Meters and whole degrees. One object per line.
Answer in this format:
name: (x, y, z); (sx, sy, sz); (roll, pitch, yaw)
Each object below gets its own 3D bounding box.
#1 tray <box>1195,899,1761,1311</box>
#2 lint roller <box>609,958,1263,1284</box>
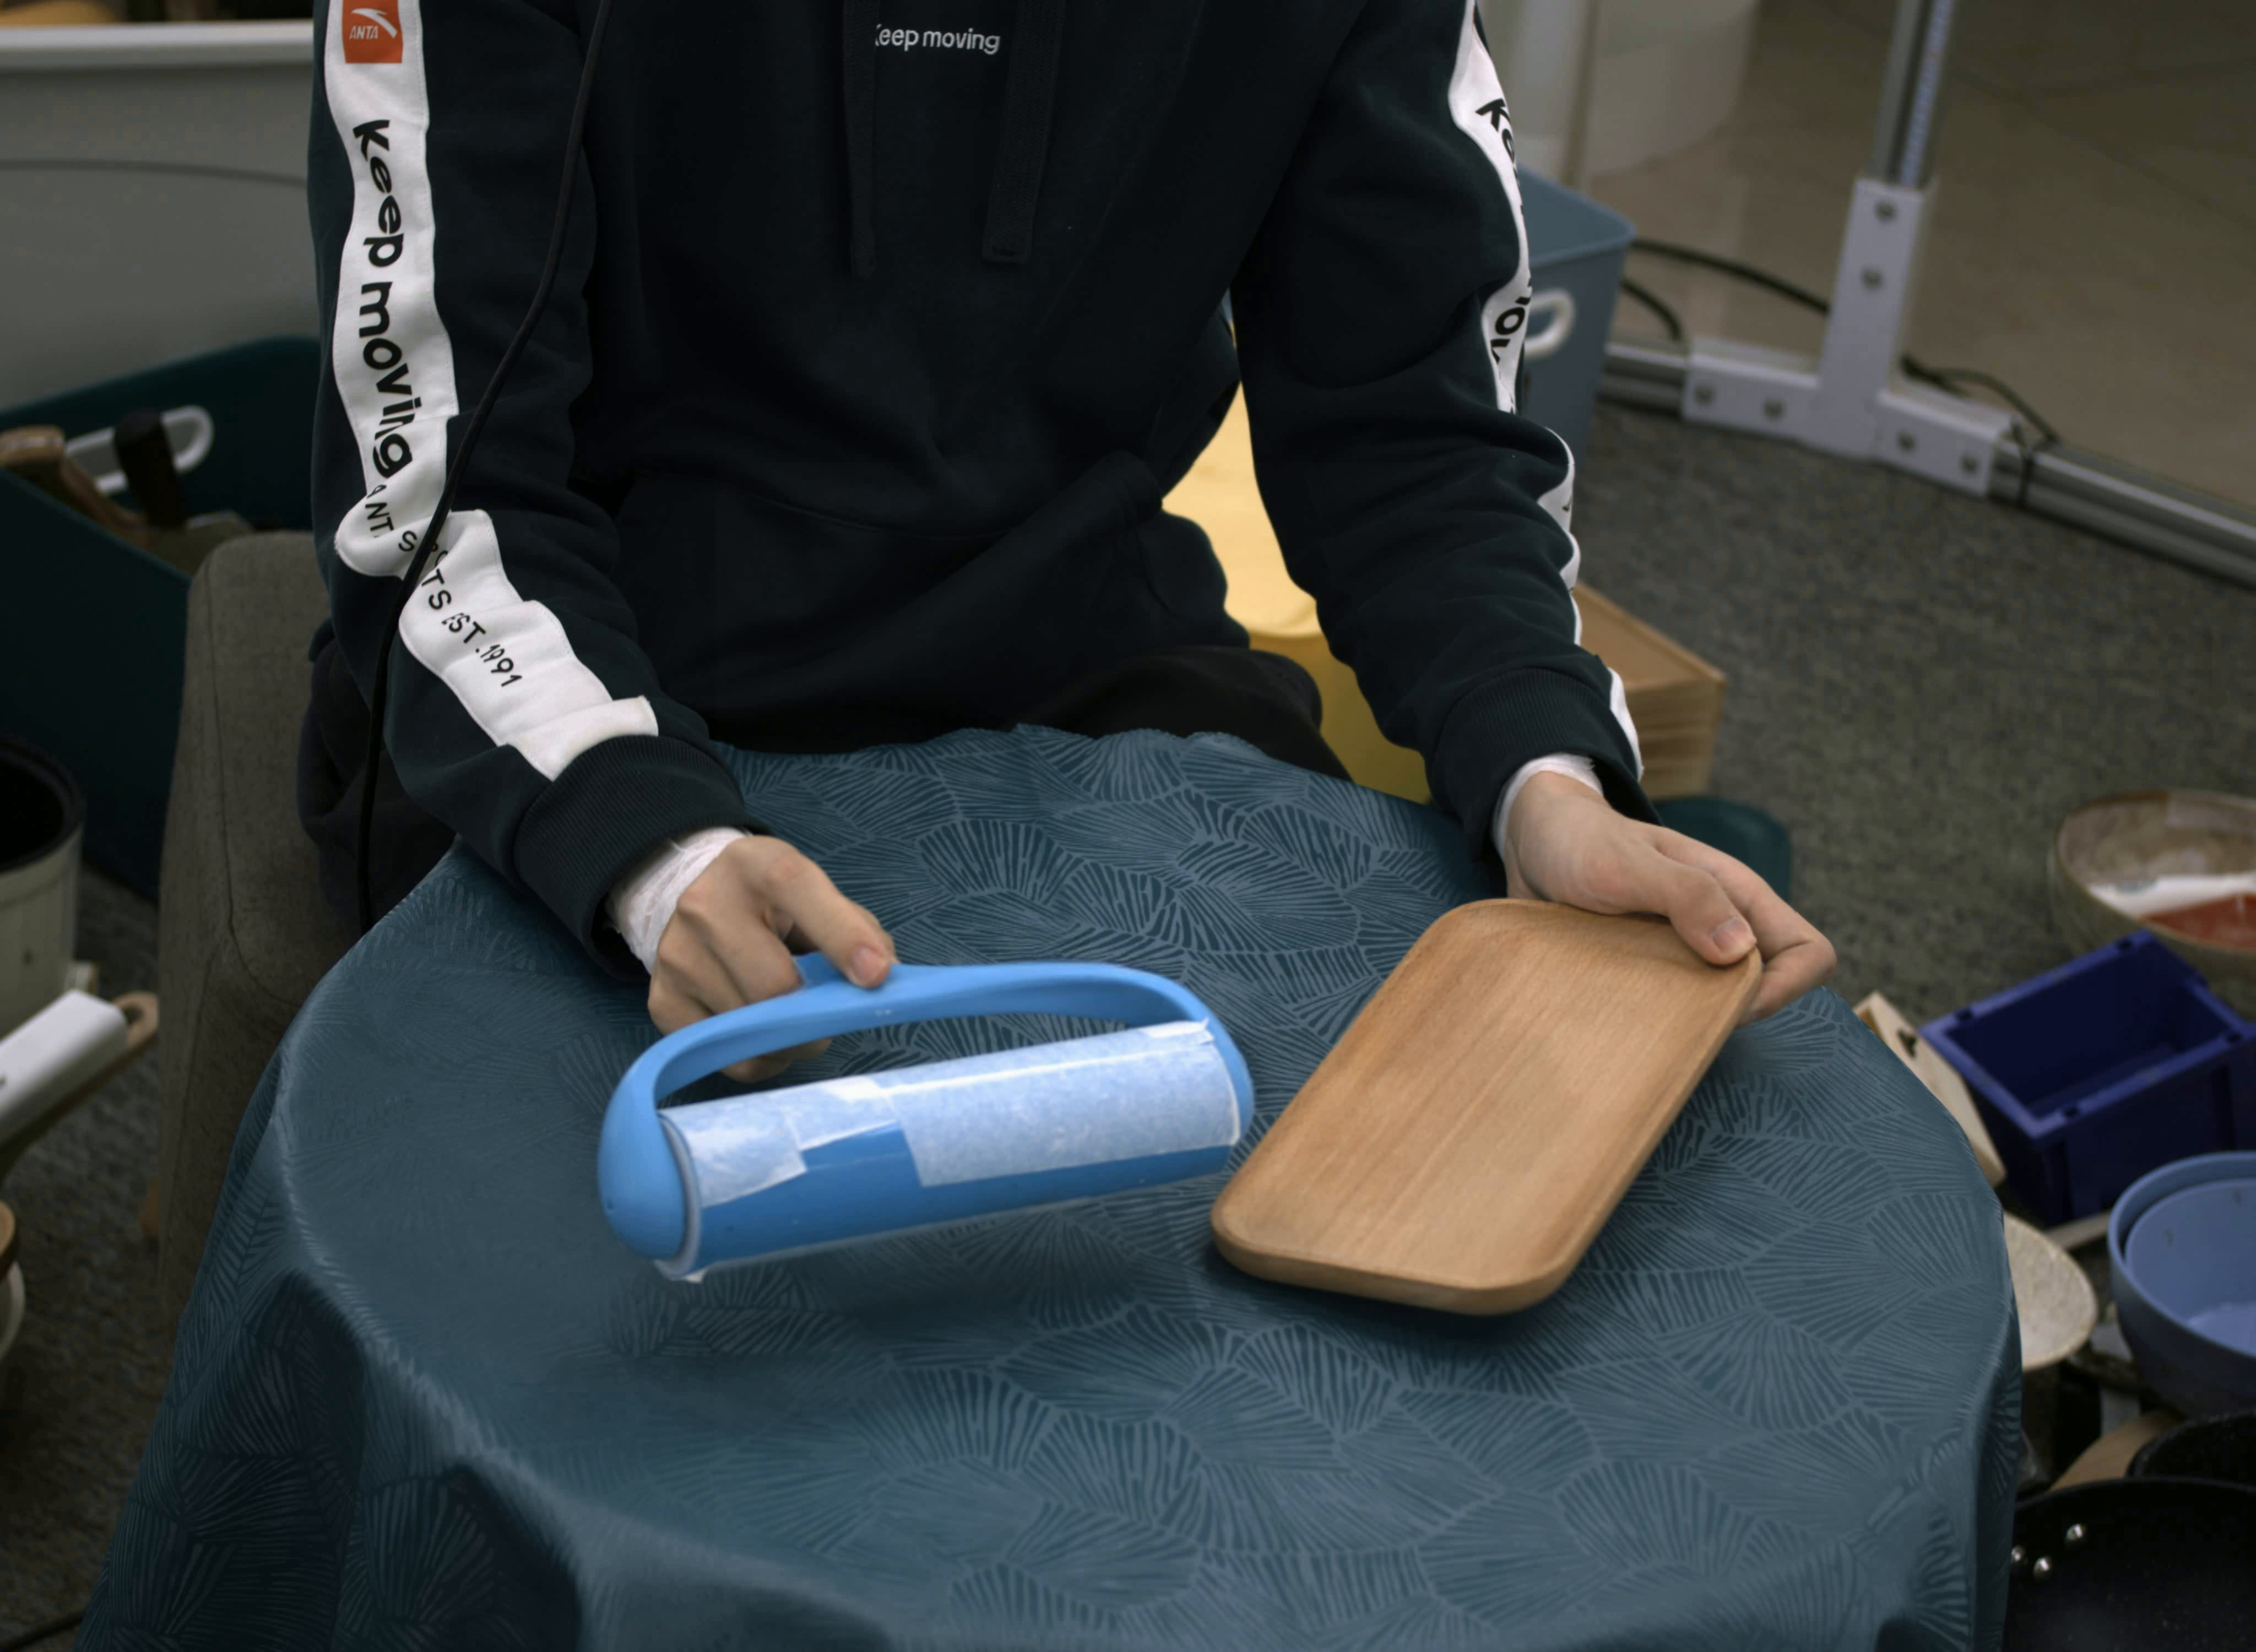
tray: (0.124, 0.093, 1.828); (0.131, 0.023, 0.251); (5, 30, 27)
lint roller: (-0.089, 0.077, 1.742); (0.227, 0.068, 0.182); (-12, 31, -29)
